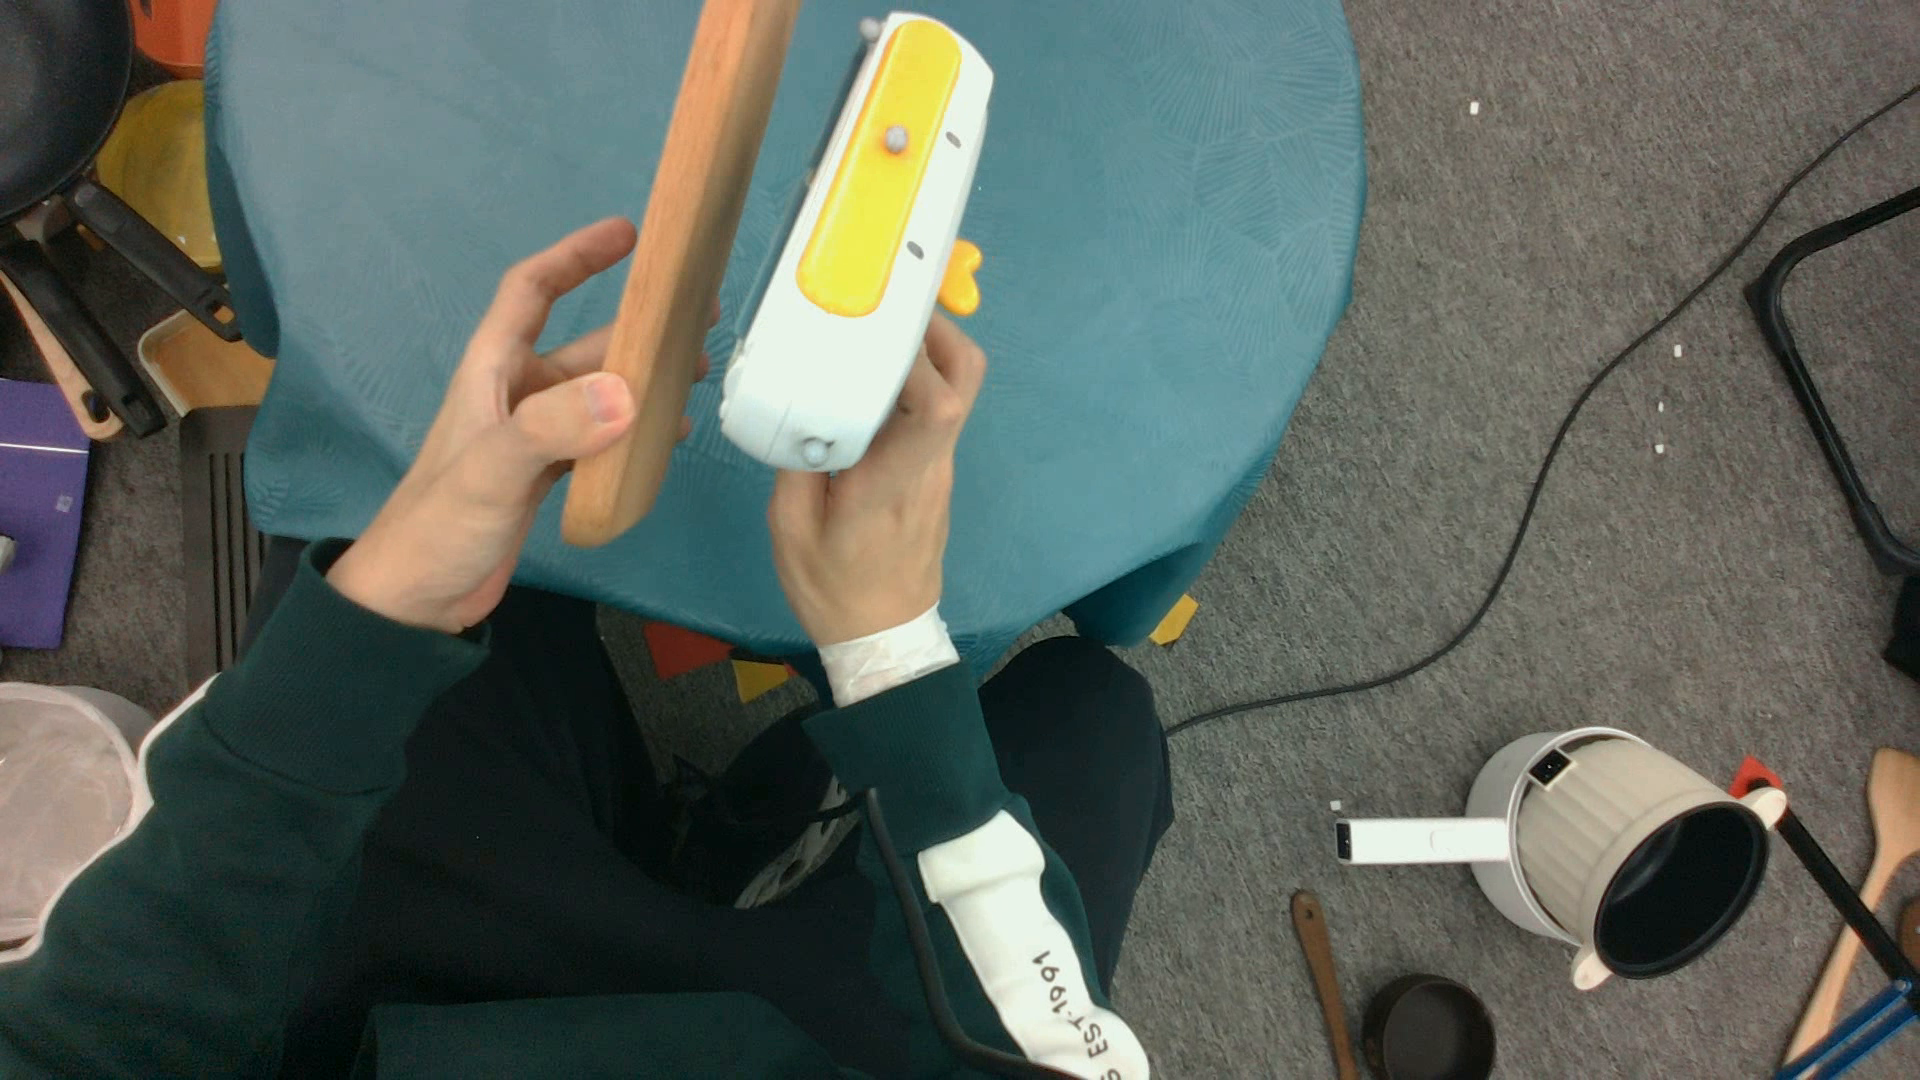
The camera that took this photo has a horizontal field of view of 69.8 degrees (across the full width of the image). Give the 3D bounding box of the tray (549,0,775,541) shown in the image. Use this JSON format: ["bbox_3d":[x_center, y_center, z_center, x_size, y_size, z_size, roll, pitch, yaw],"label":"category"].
[{"bbox_3d":[-0.100,-0.123,0.495,0.023,0.130,0.250,16,97,-5],"label":"tray"}]

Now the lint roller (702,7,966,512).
[{"bbox_3d":[-0.048,-0.075,0.522,0.074,0.191,0.193,12,58,-8],"label":"lint roller"}]
